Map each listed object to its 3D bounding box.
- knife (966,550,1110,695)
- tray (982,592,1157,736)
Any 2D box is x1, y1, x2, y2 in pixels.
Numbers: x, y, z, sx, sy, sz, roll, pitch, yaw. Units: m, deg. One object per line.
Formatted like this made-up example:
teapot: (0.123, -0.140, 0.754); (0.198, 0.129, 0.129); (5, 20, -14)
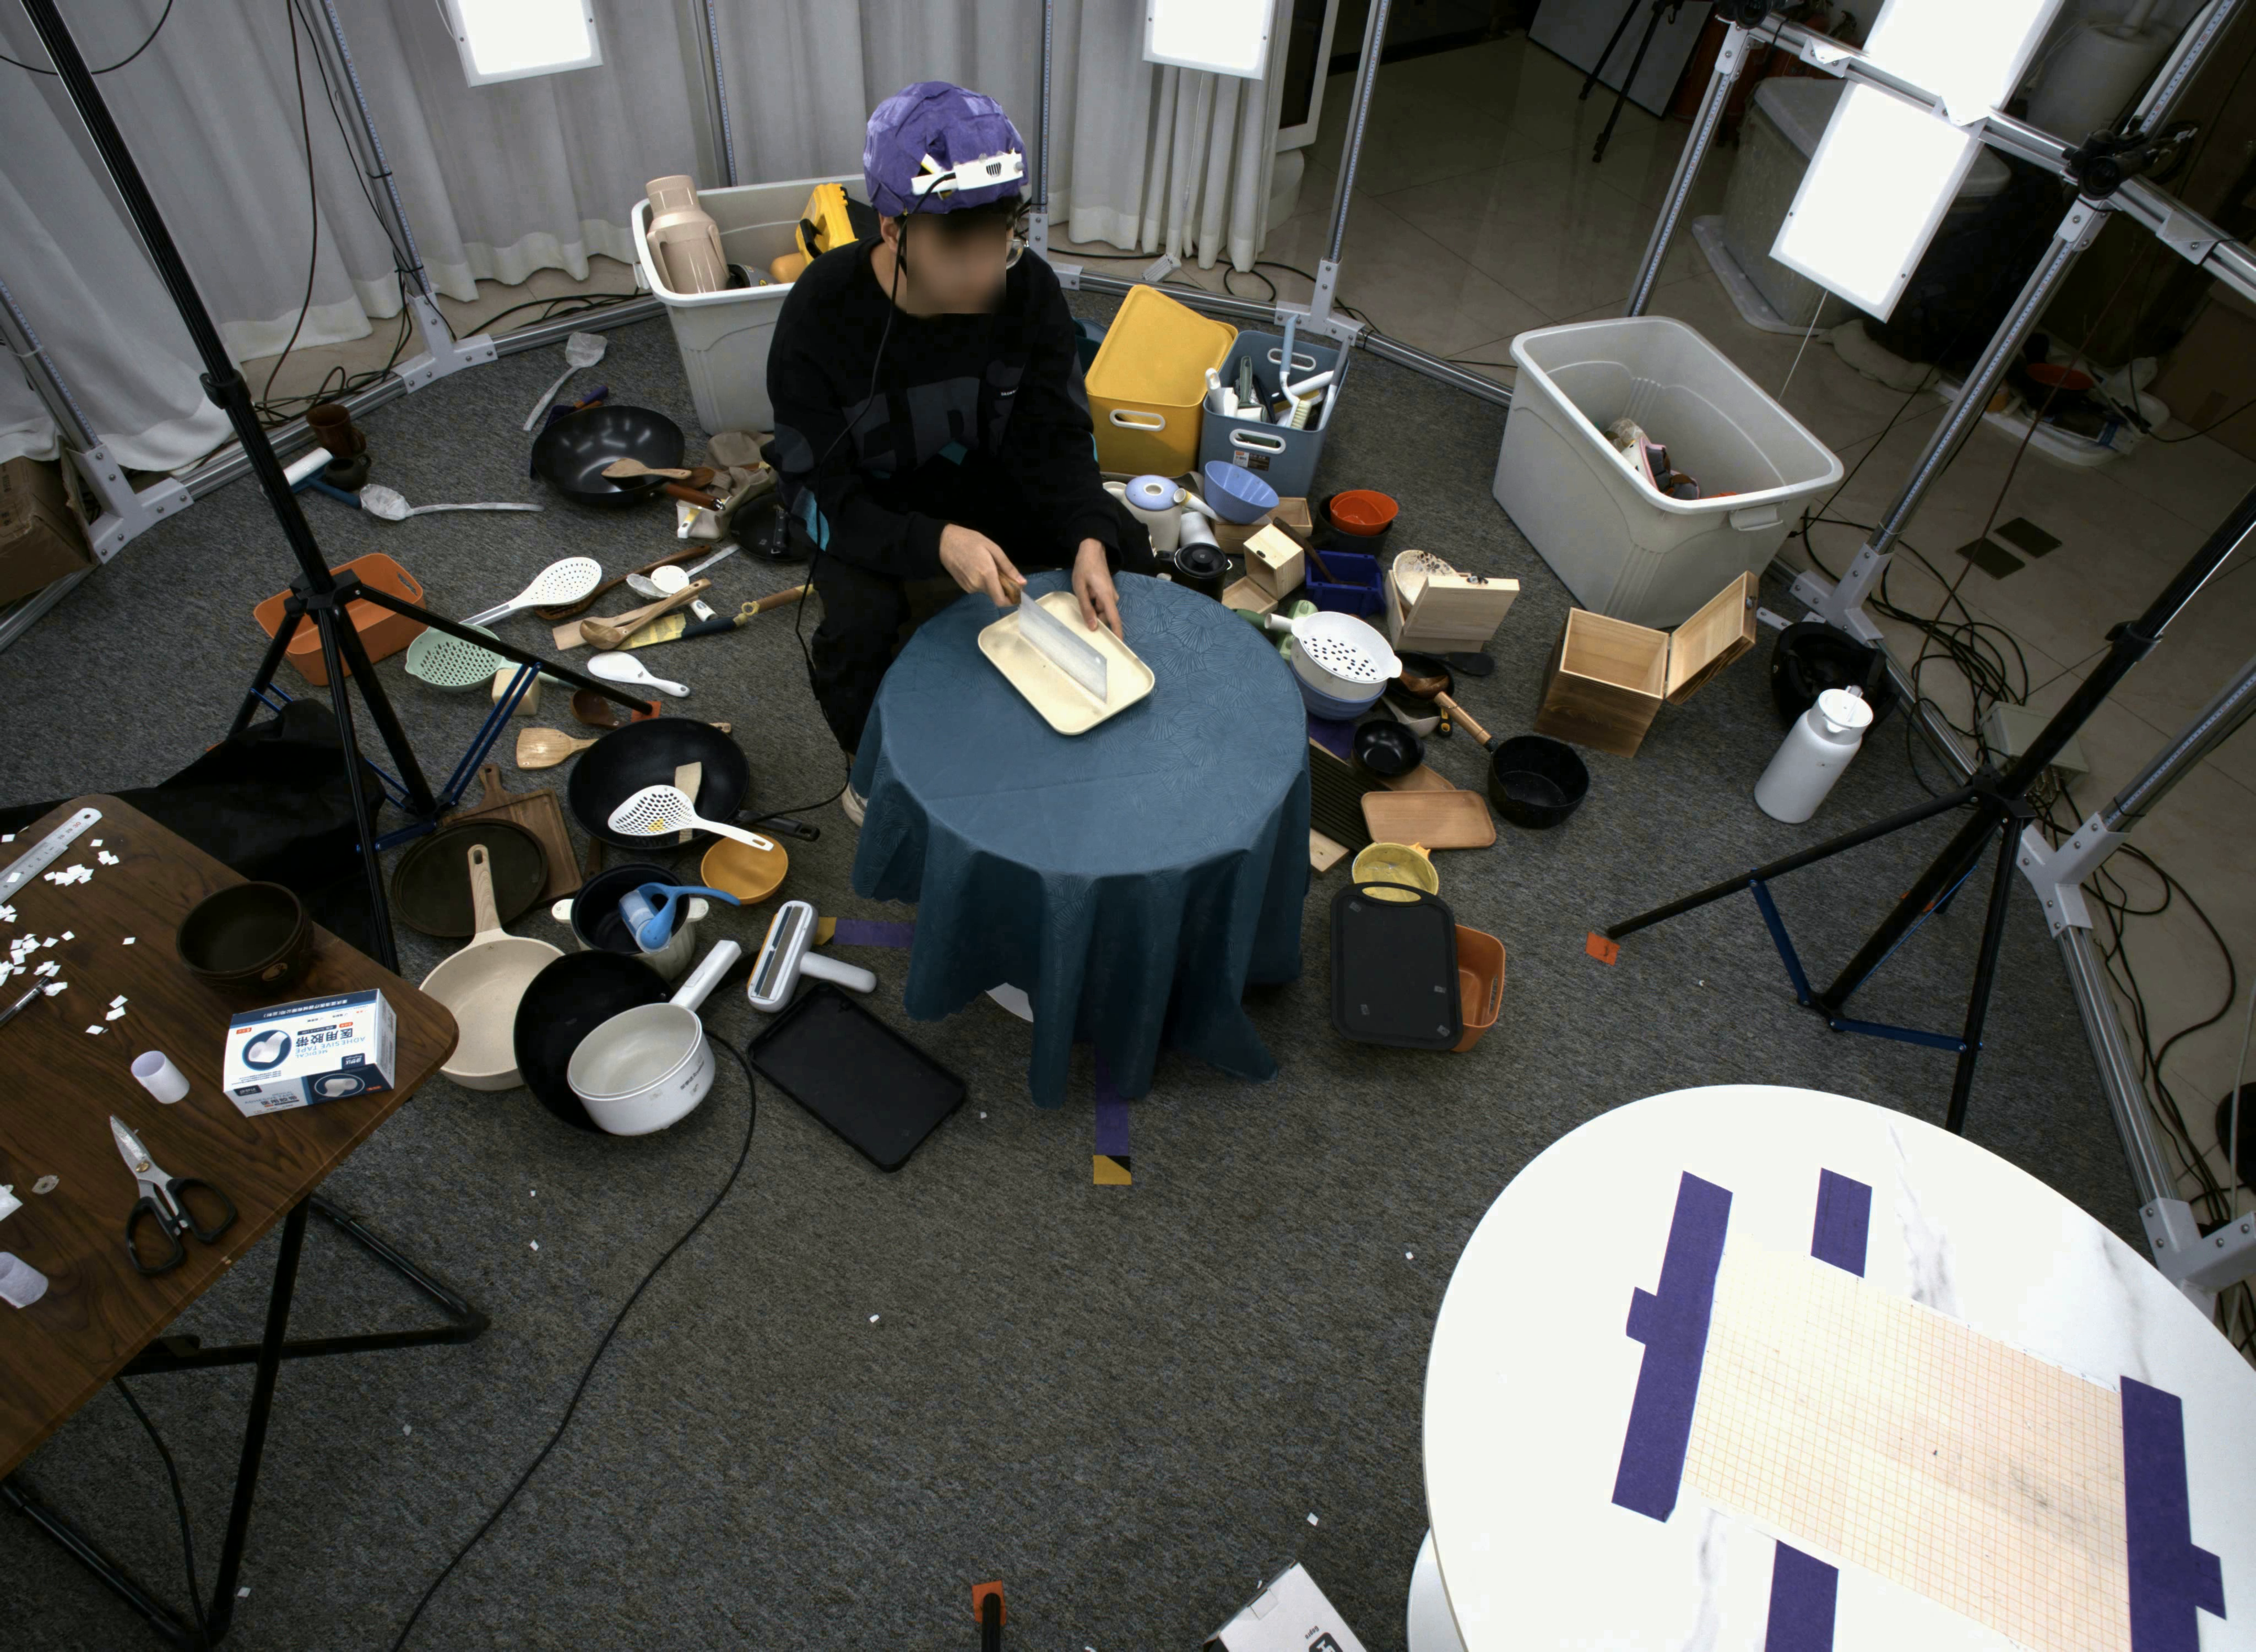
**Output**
knife: (-0.128, -0.286, 1.825); (0.021, 0.090, 0.311); (-34, 59, -24)
tray: (-0.085, -0.234, 1.841); (0.172, 0.017, 0.244); (-32, 60, -19)
